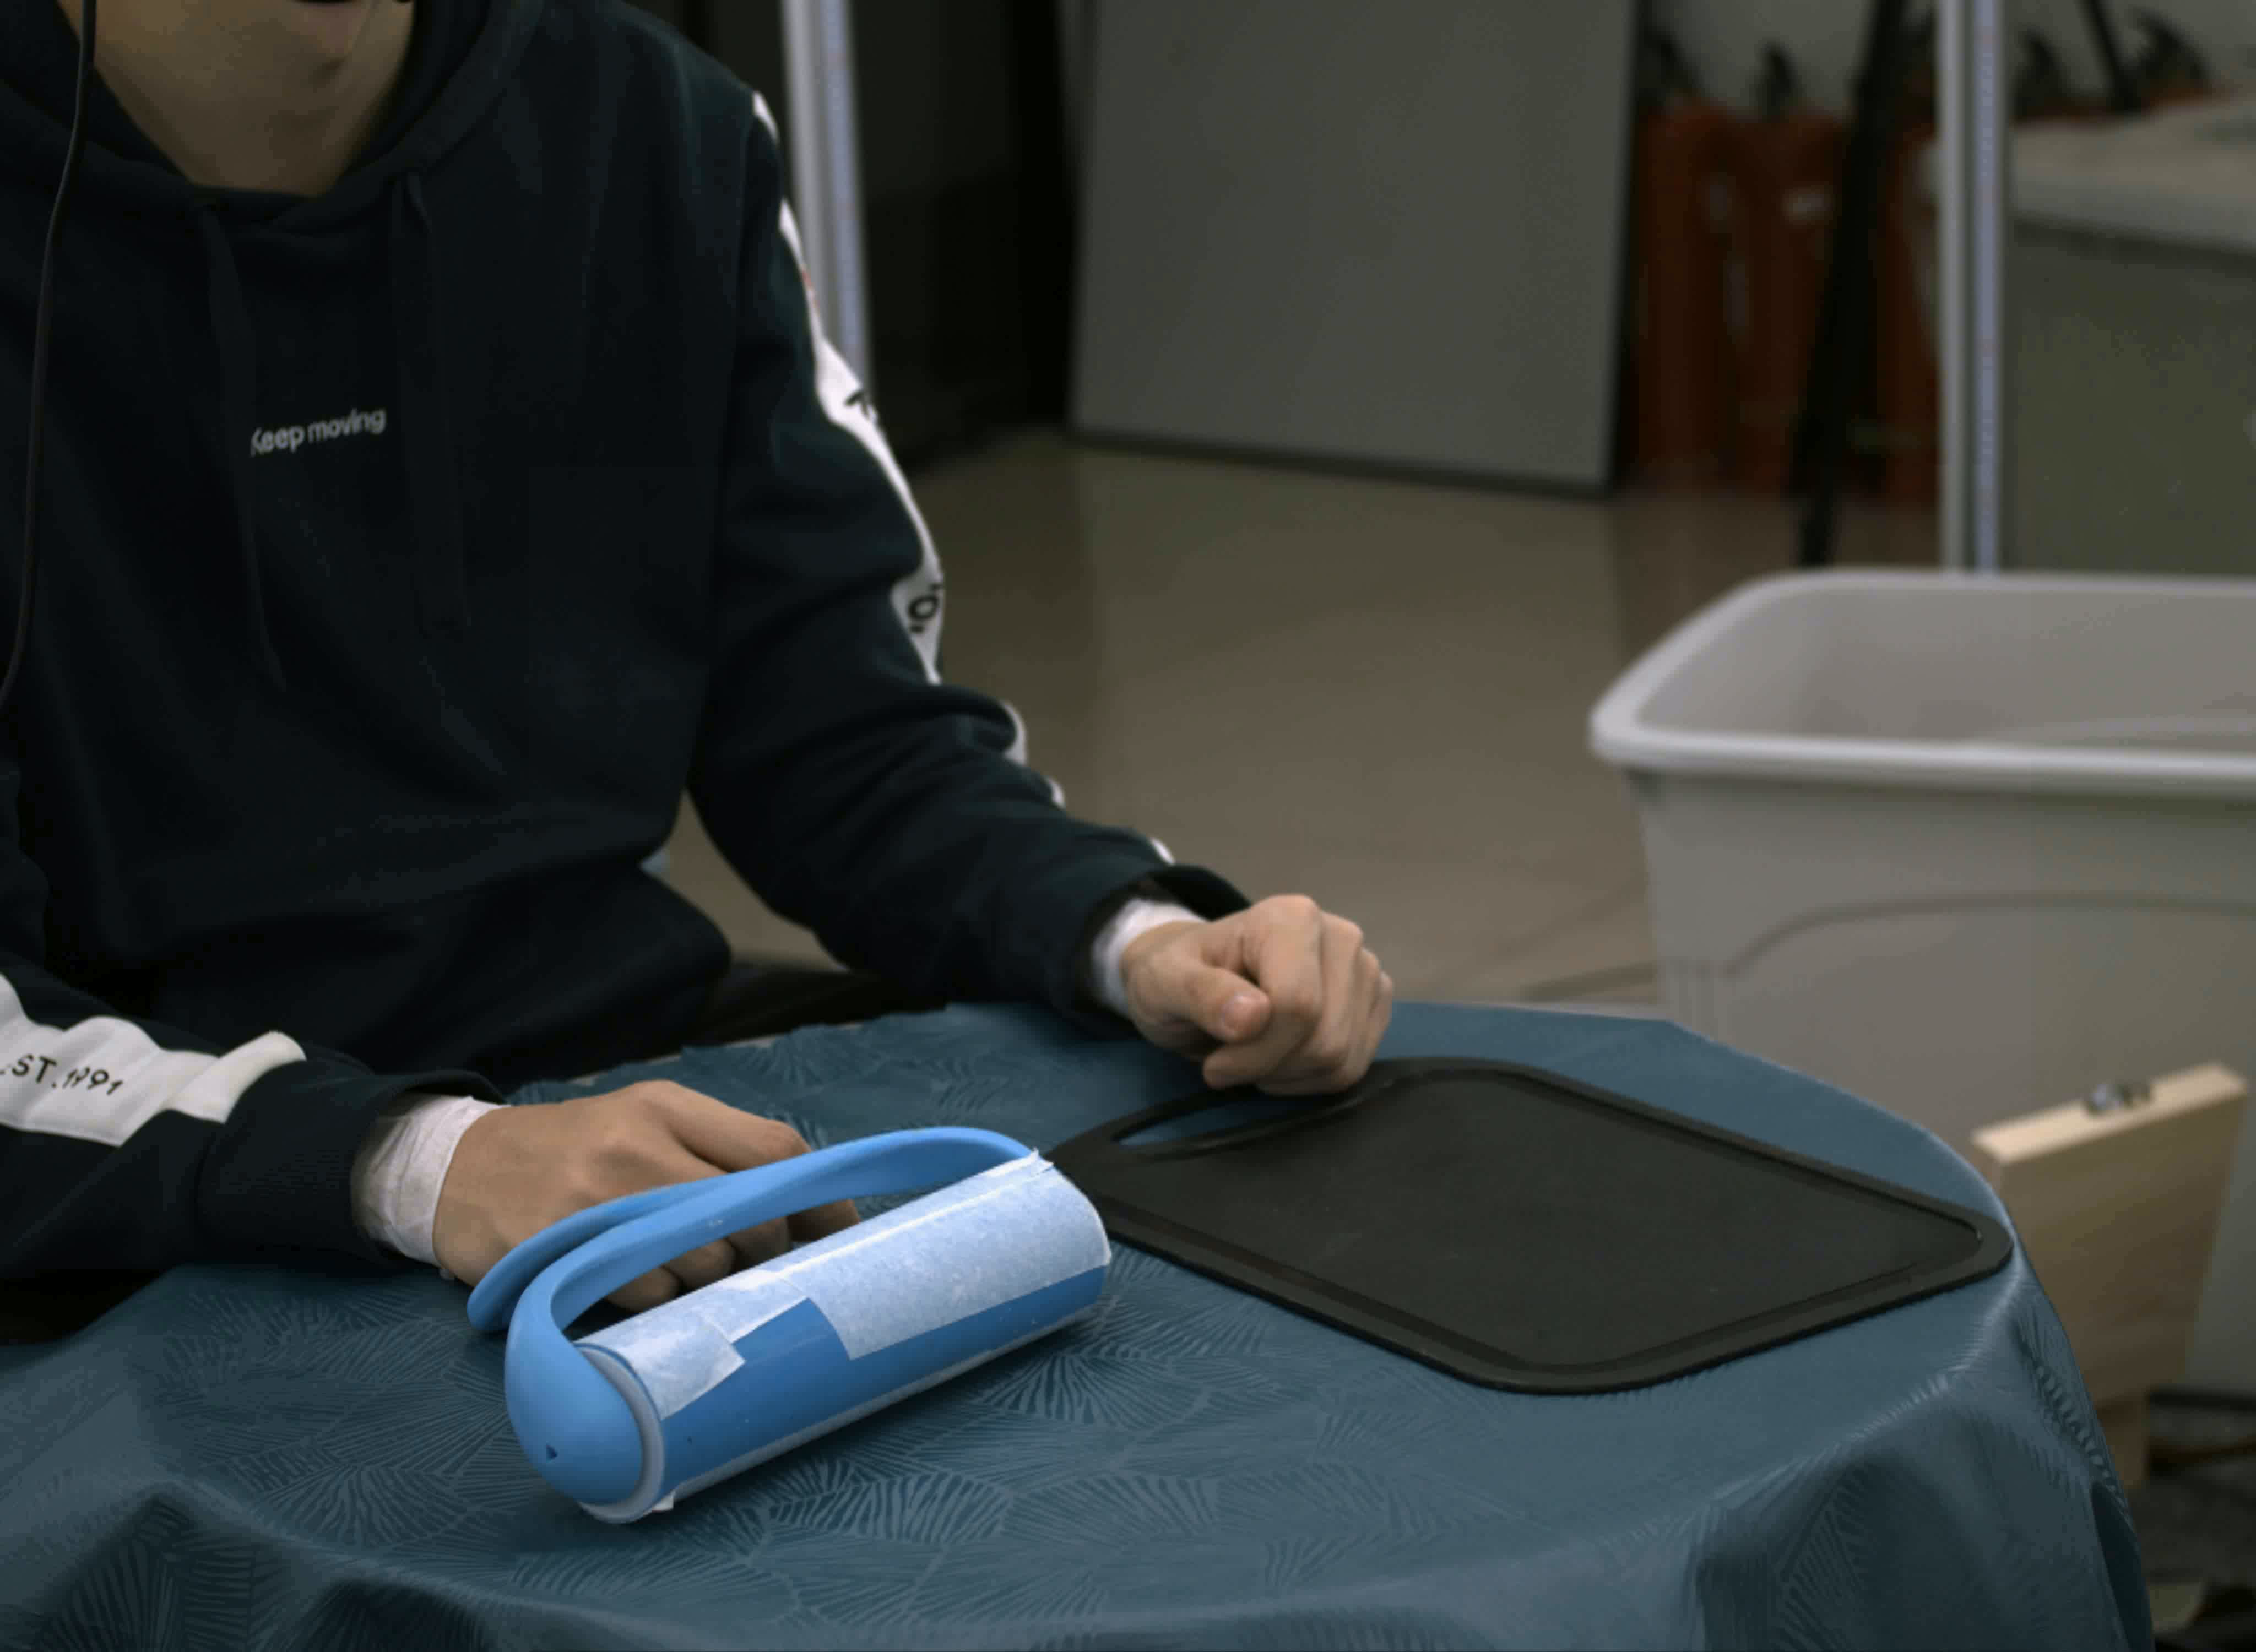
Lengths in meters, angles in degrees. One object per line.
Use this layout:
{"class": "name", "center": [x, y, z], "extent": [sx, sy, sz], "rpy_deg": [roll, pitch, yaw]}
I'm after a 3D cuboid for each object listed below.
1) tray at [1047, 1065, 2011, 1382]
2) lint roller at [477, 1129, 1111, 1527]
{"class": "tray", "center": [0.114, 0.121, 1.726], "extent": [0.206, 0.010, 0.329], "rpy_deg": [-13, 16, -32]}
{"class": "lint roller", "center": [-0.131, 0.141, 1.611], "extent": [0.181, 0.068, 0.225], "rpy_deg": [7, 19, 38]}
